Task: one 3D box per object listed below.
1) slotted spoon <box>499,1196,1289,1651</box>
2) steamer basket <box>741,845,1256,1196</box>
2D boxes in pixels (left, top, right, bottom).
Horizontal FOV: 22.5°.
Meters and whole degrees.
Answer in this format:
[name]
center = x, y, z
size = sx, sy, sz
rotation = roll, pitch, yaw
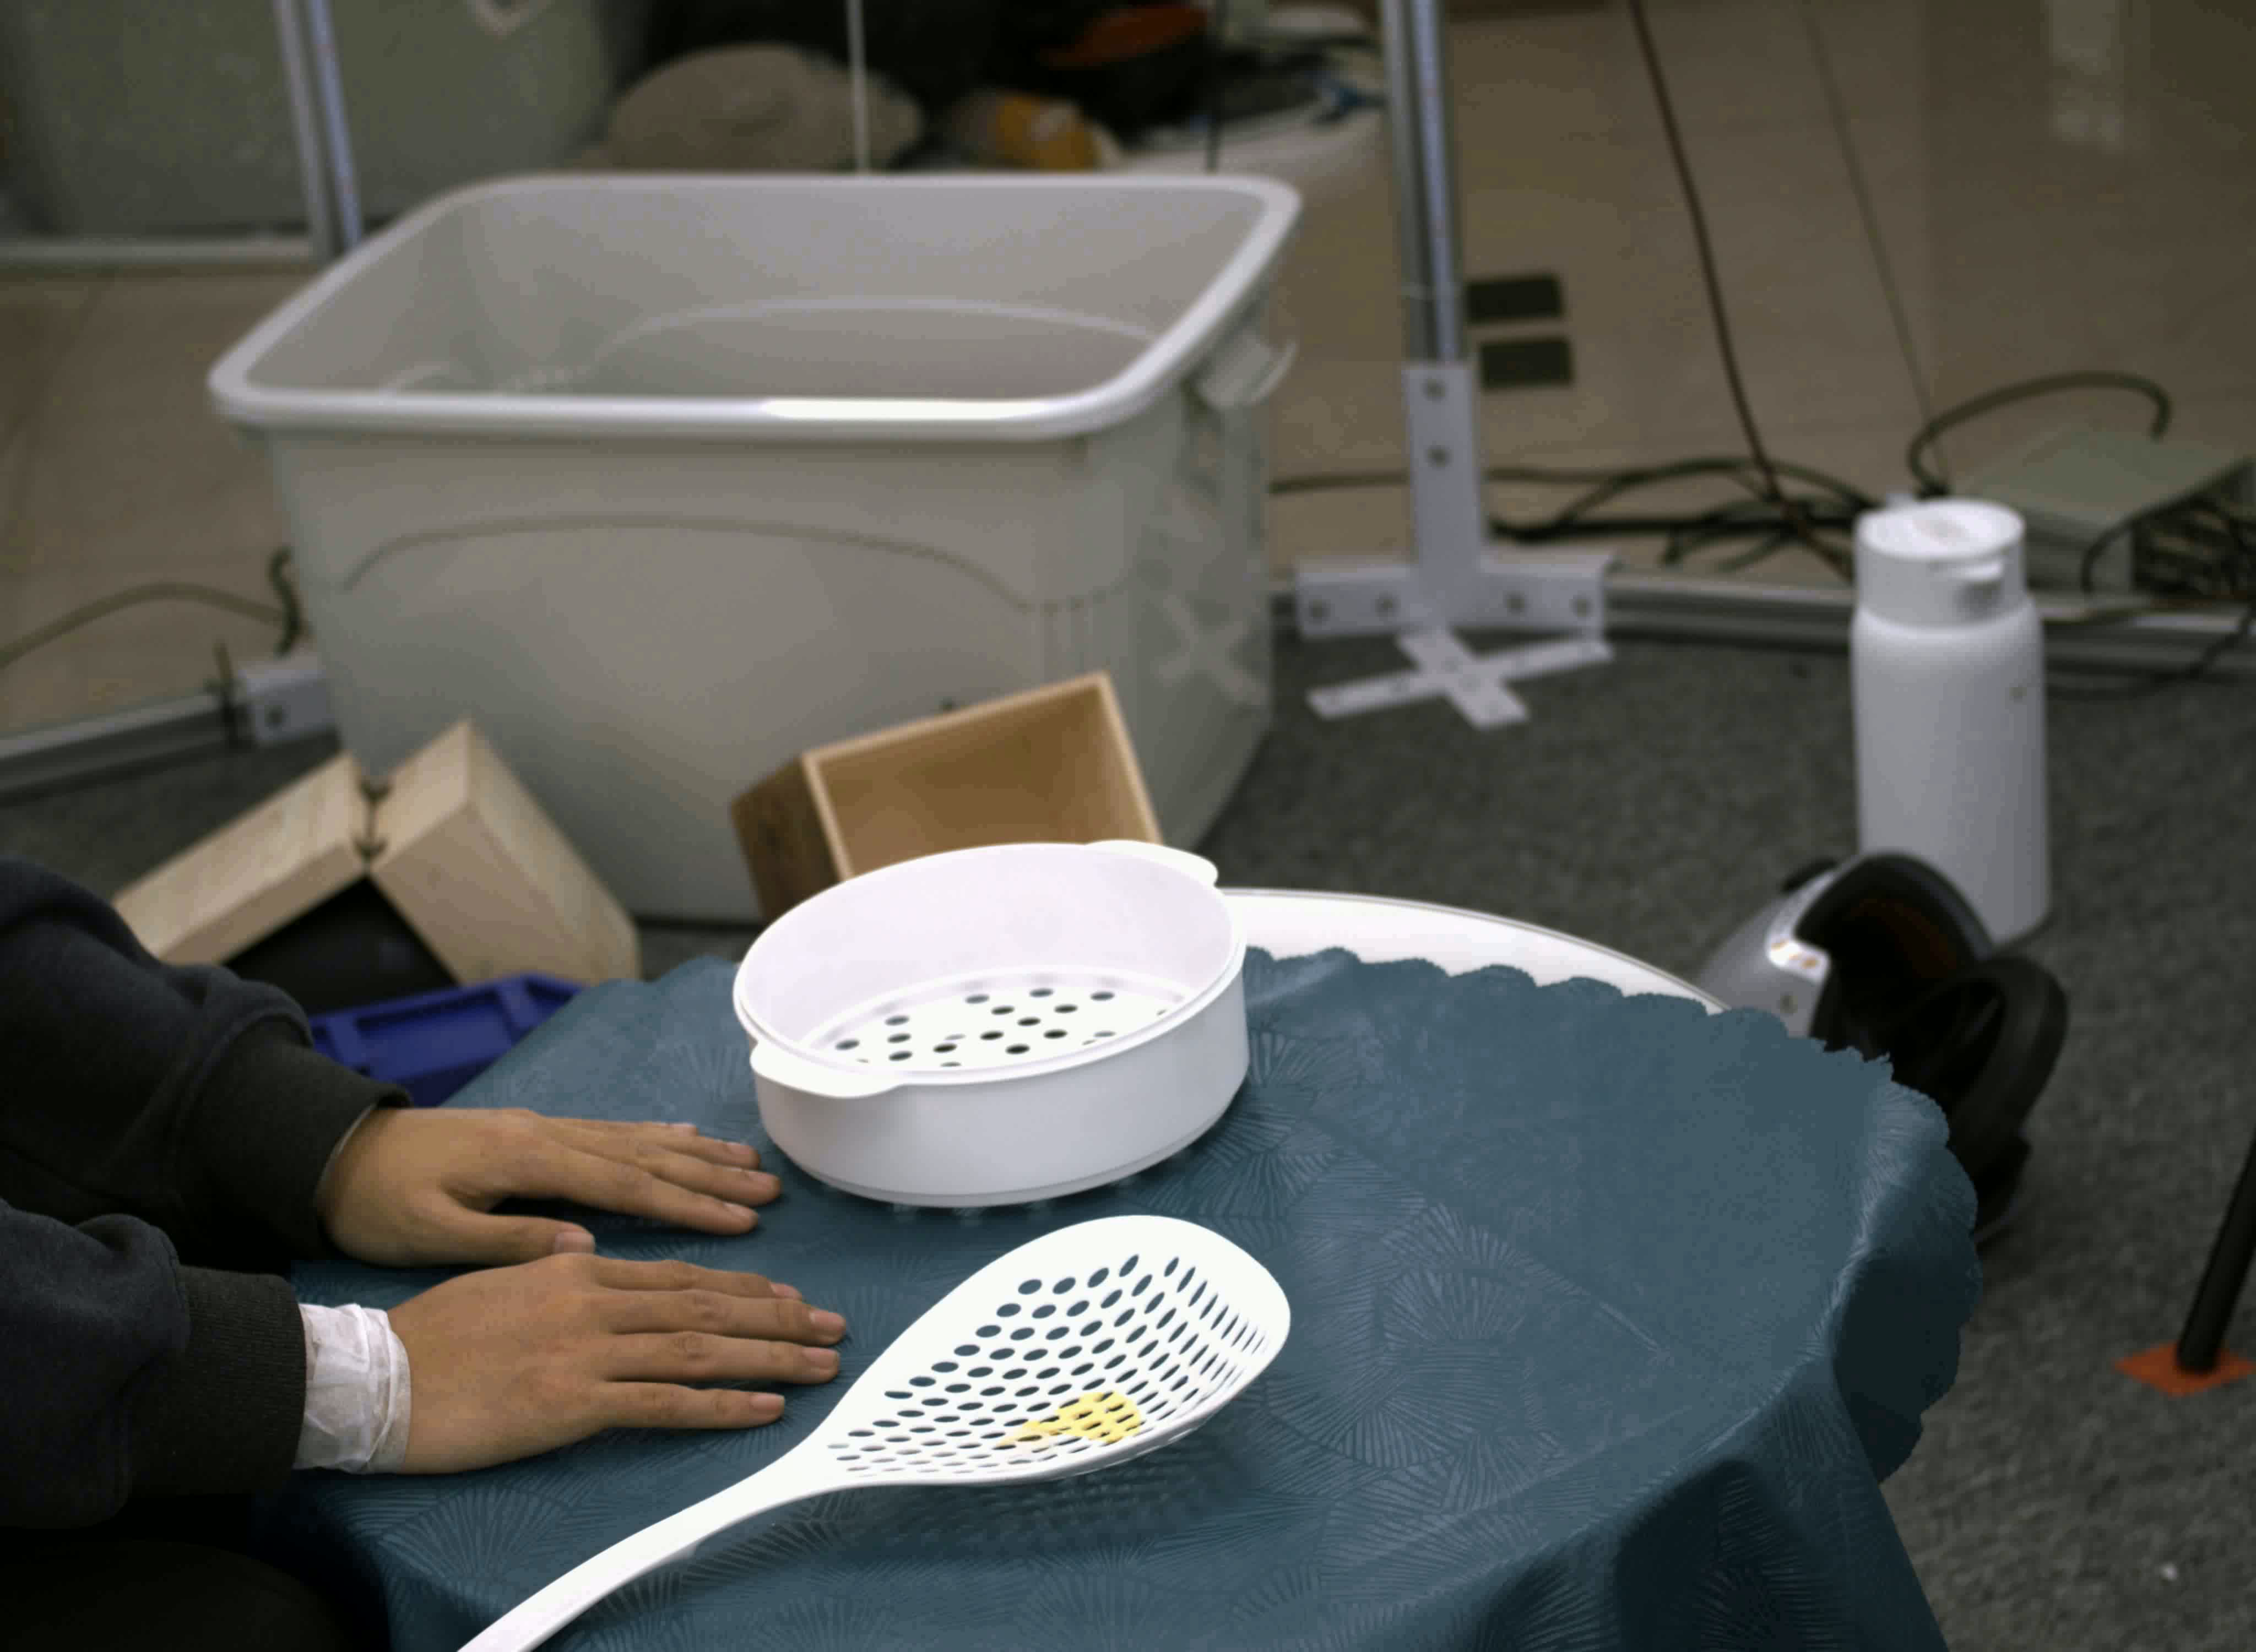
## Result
[slotted spoon]
center = -0.103, 0.229, 1.949
size = 0.346, 0.051, 0.135
rotation = -23, 34, -21
[steamer basket]
center = -0.048, 0.077, 2.211
size = 0.200, 0.070, 0.228
rotation = 13, 29, 37
